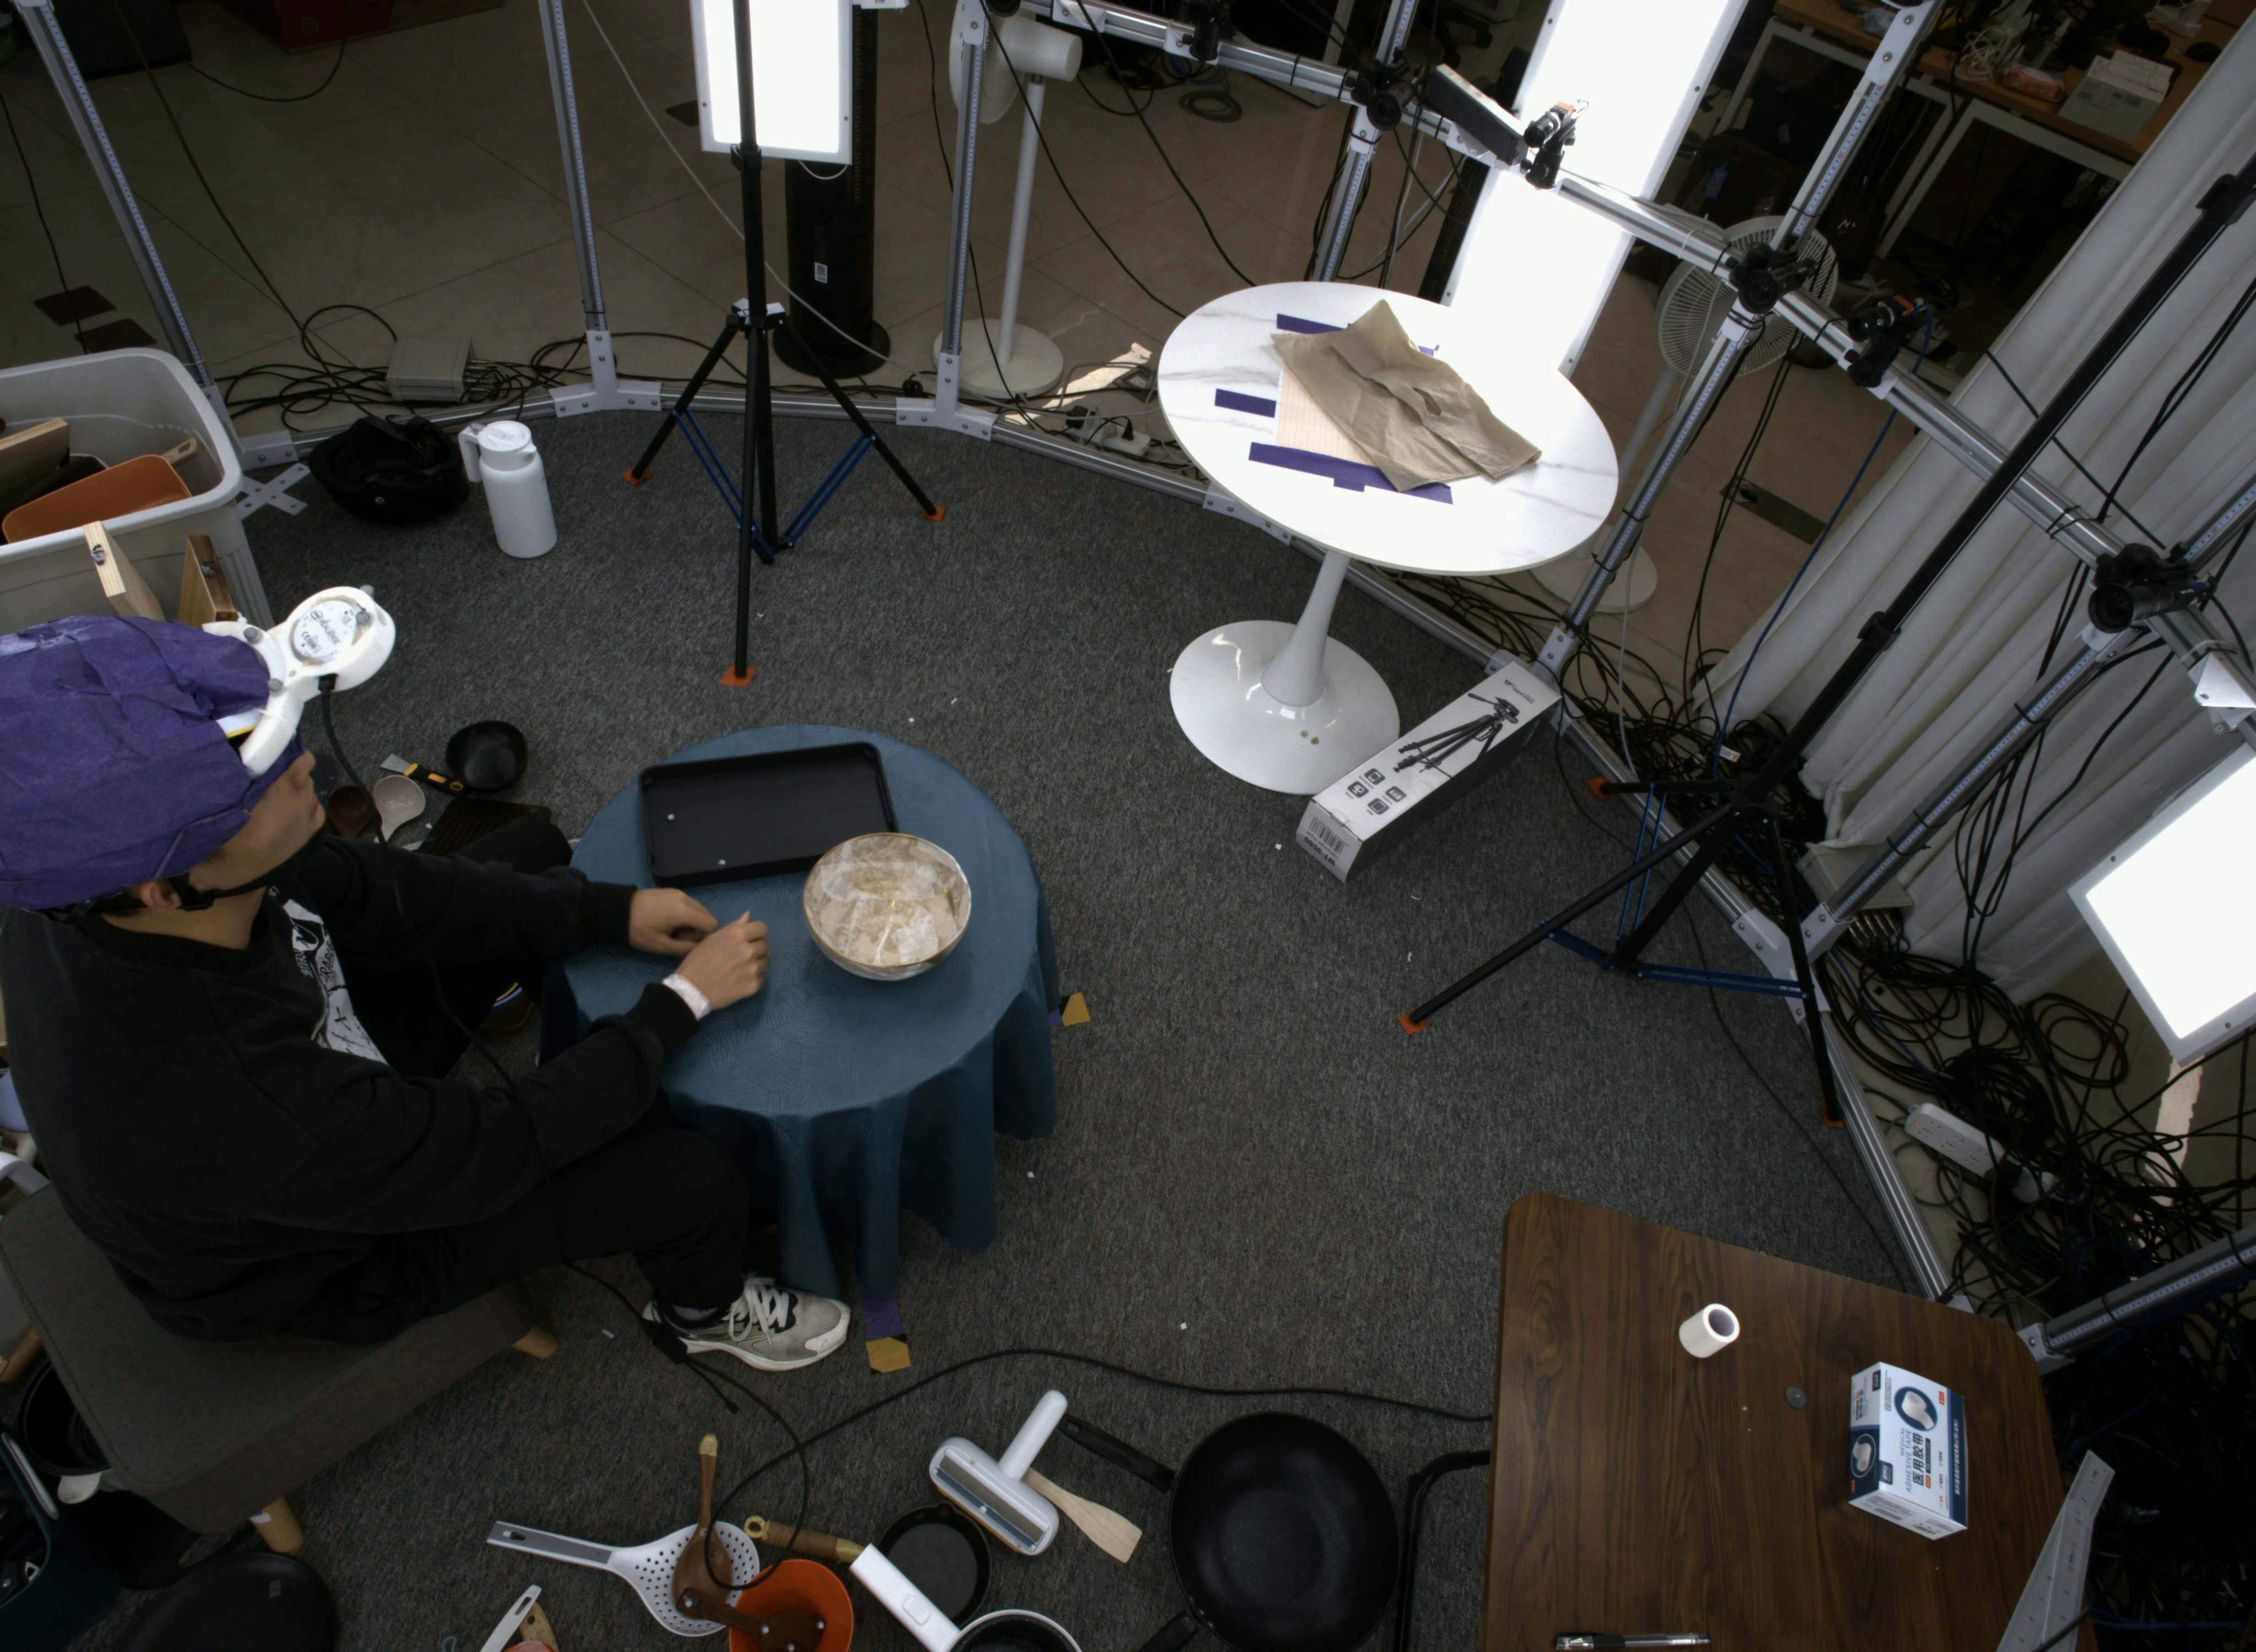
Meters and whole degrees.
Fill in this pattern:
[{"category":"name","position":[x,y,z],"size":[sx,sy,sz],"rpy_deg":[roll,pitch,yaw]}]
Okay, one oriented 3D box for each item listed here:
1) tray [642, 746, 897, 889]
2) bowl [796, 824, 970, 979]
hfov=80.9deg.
[{"category":"tray","position":[-0.473,-0.016,1.708],"size":[0.319,0.038,0.180],"rpy_deg":[-6,55,-20]},{"category":"bowl","position":[-0.304,0.109,1.618],"size":[0.214,0.096,0.211],"rpy_deg":[8,52,-9]}]
